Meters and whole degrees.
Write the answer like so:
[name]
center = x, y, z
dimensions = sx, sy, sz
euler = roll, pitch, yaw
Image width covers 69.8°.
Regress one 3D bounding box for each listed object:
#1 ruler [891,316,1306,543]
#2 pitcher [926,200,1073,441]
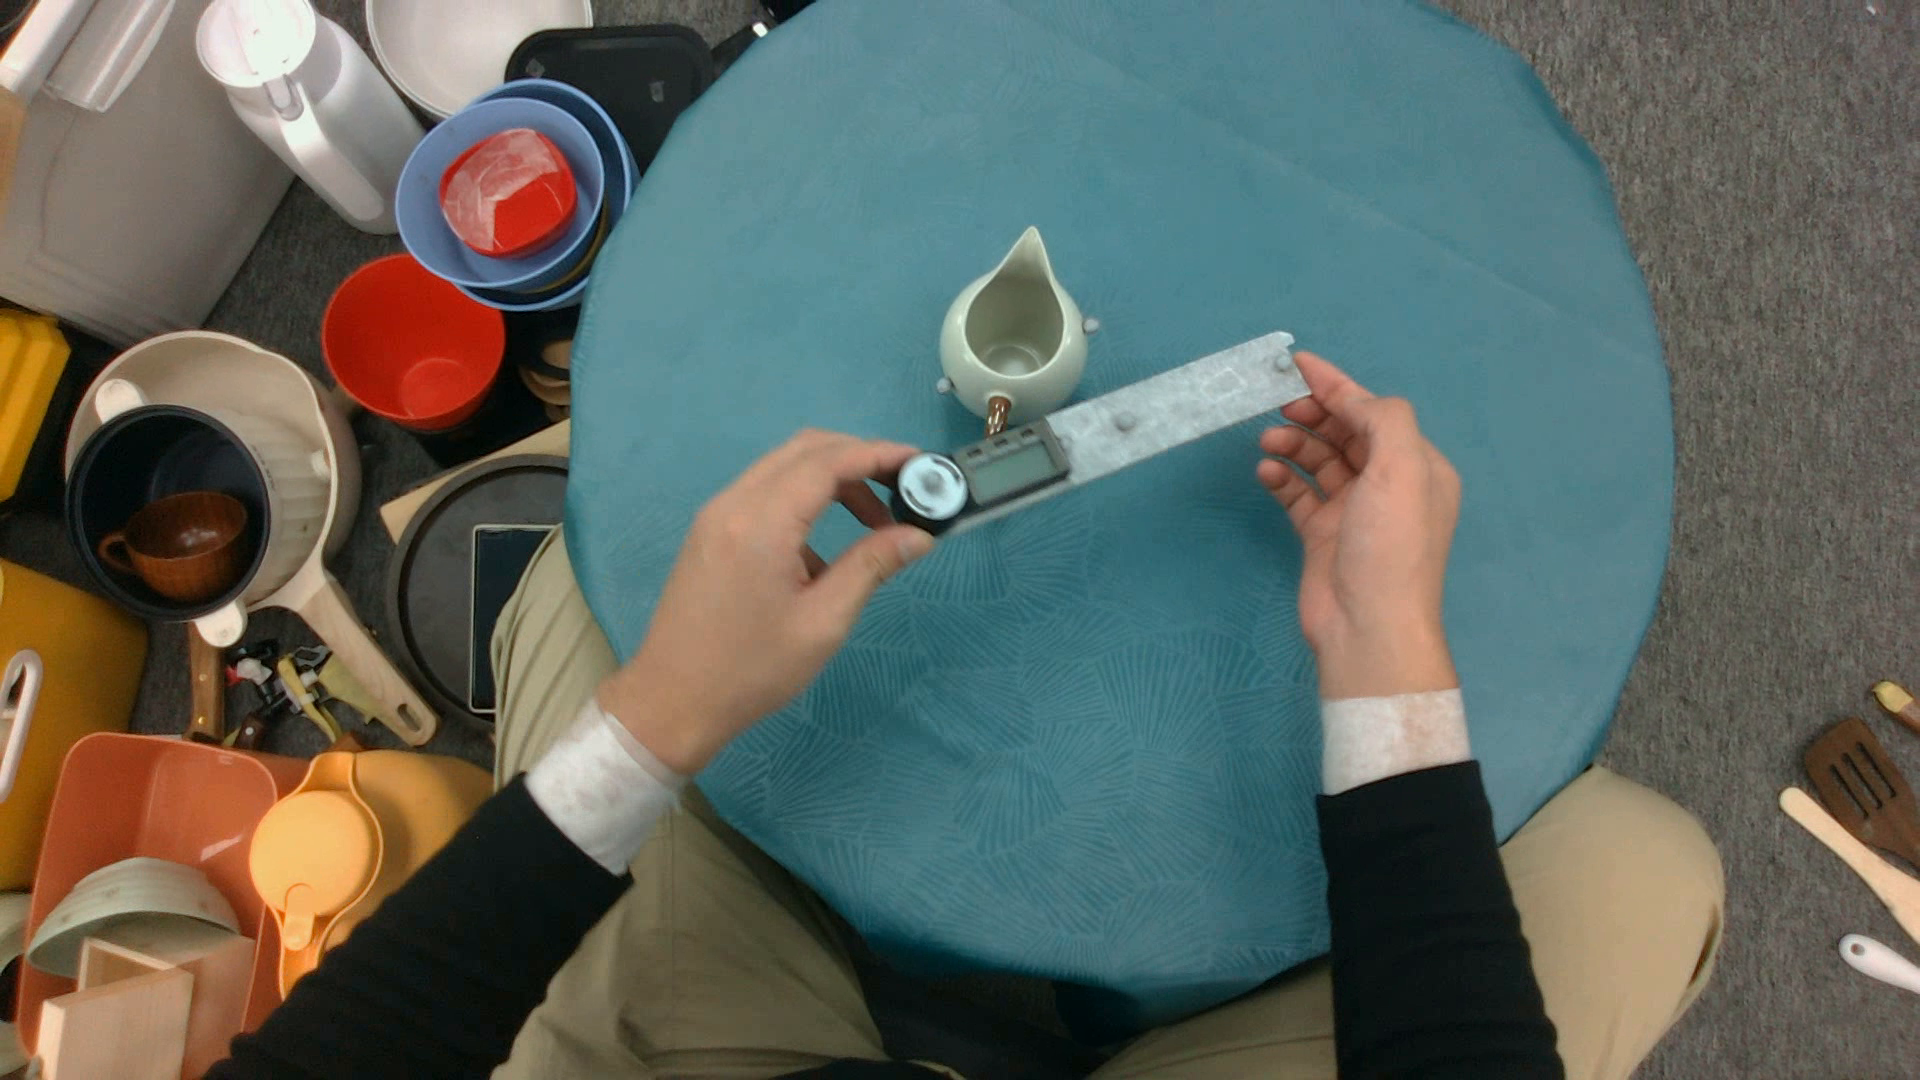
[ruler]
center = 0.069, -0.054, 0.634
dimensions = 0.219, 0.024, 0.038
euler = -24, 84, -18
[pitcher]
center = 0.019, -0.102, 0.713
dimensions = 0.076, 0.087, 0.119
euler = 13, 77, 6
